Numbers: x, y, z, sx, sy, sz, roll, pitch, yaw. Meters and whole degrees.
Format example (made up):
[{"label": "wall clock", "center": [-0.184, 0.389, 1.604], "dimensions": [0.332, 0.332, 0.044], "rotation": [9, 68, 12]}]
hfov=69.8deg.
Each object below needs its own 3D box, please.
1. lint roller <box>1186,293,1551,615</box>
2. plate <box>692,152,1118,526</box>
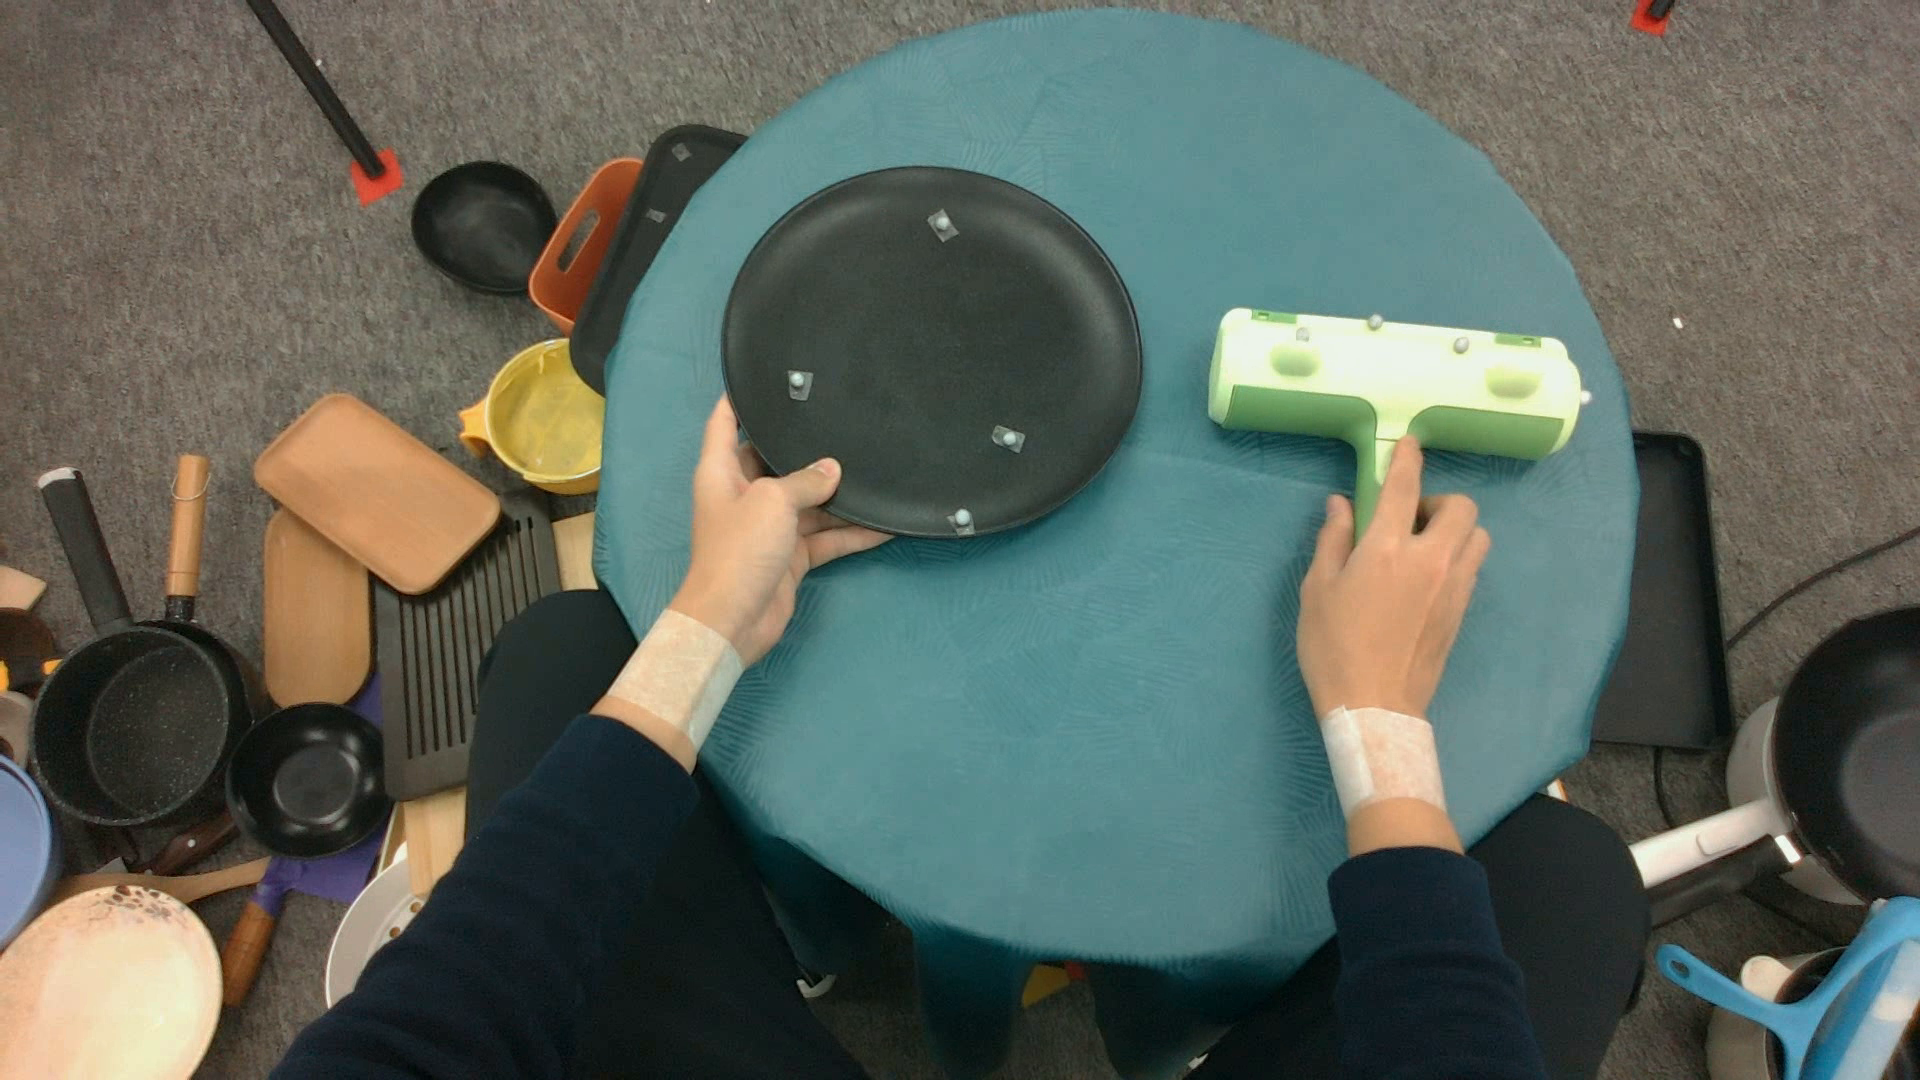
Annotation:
[{"label": "lint roller", "center": [0.224, -0.055, 0.747], "dimensions": [0.198, 0.082, 0.184], "rotation": [4, 60, 2]}, {"label": "plate", "center": [-0.031, -0.118, 0.796], "dimensions": [0.244, 0.023, 0.245], "rotation": [2, 68, -5]}]
